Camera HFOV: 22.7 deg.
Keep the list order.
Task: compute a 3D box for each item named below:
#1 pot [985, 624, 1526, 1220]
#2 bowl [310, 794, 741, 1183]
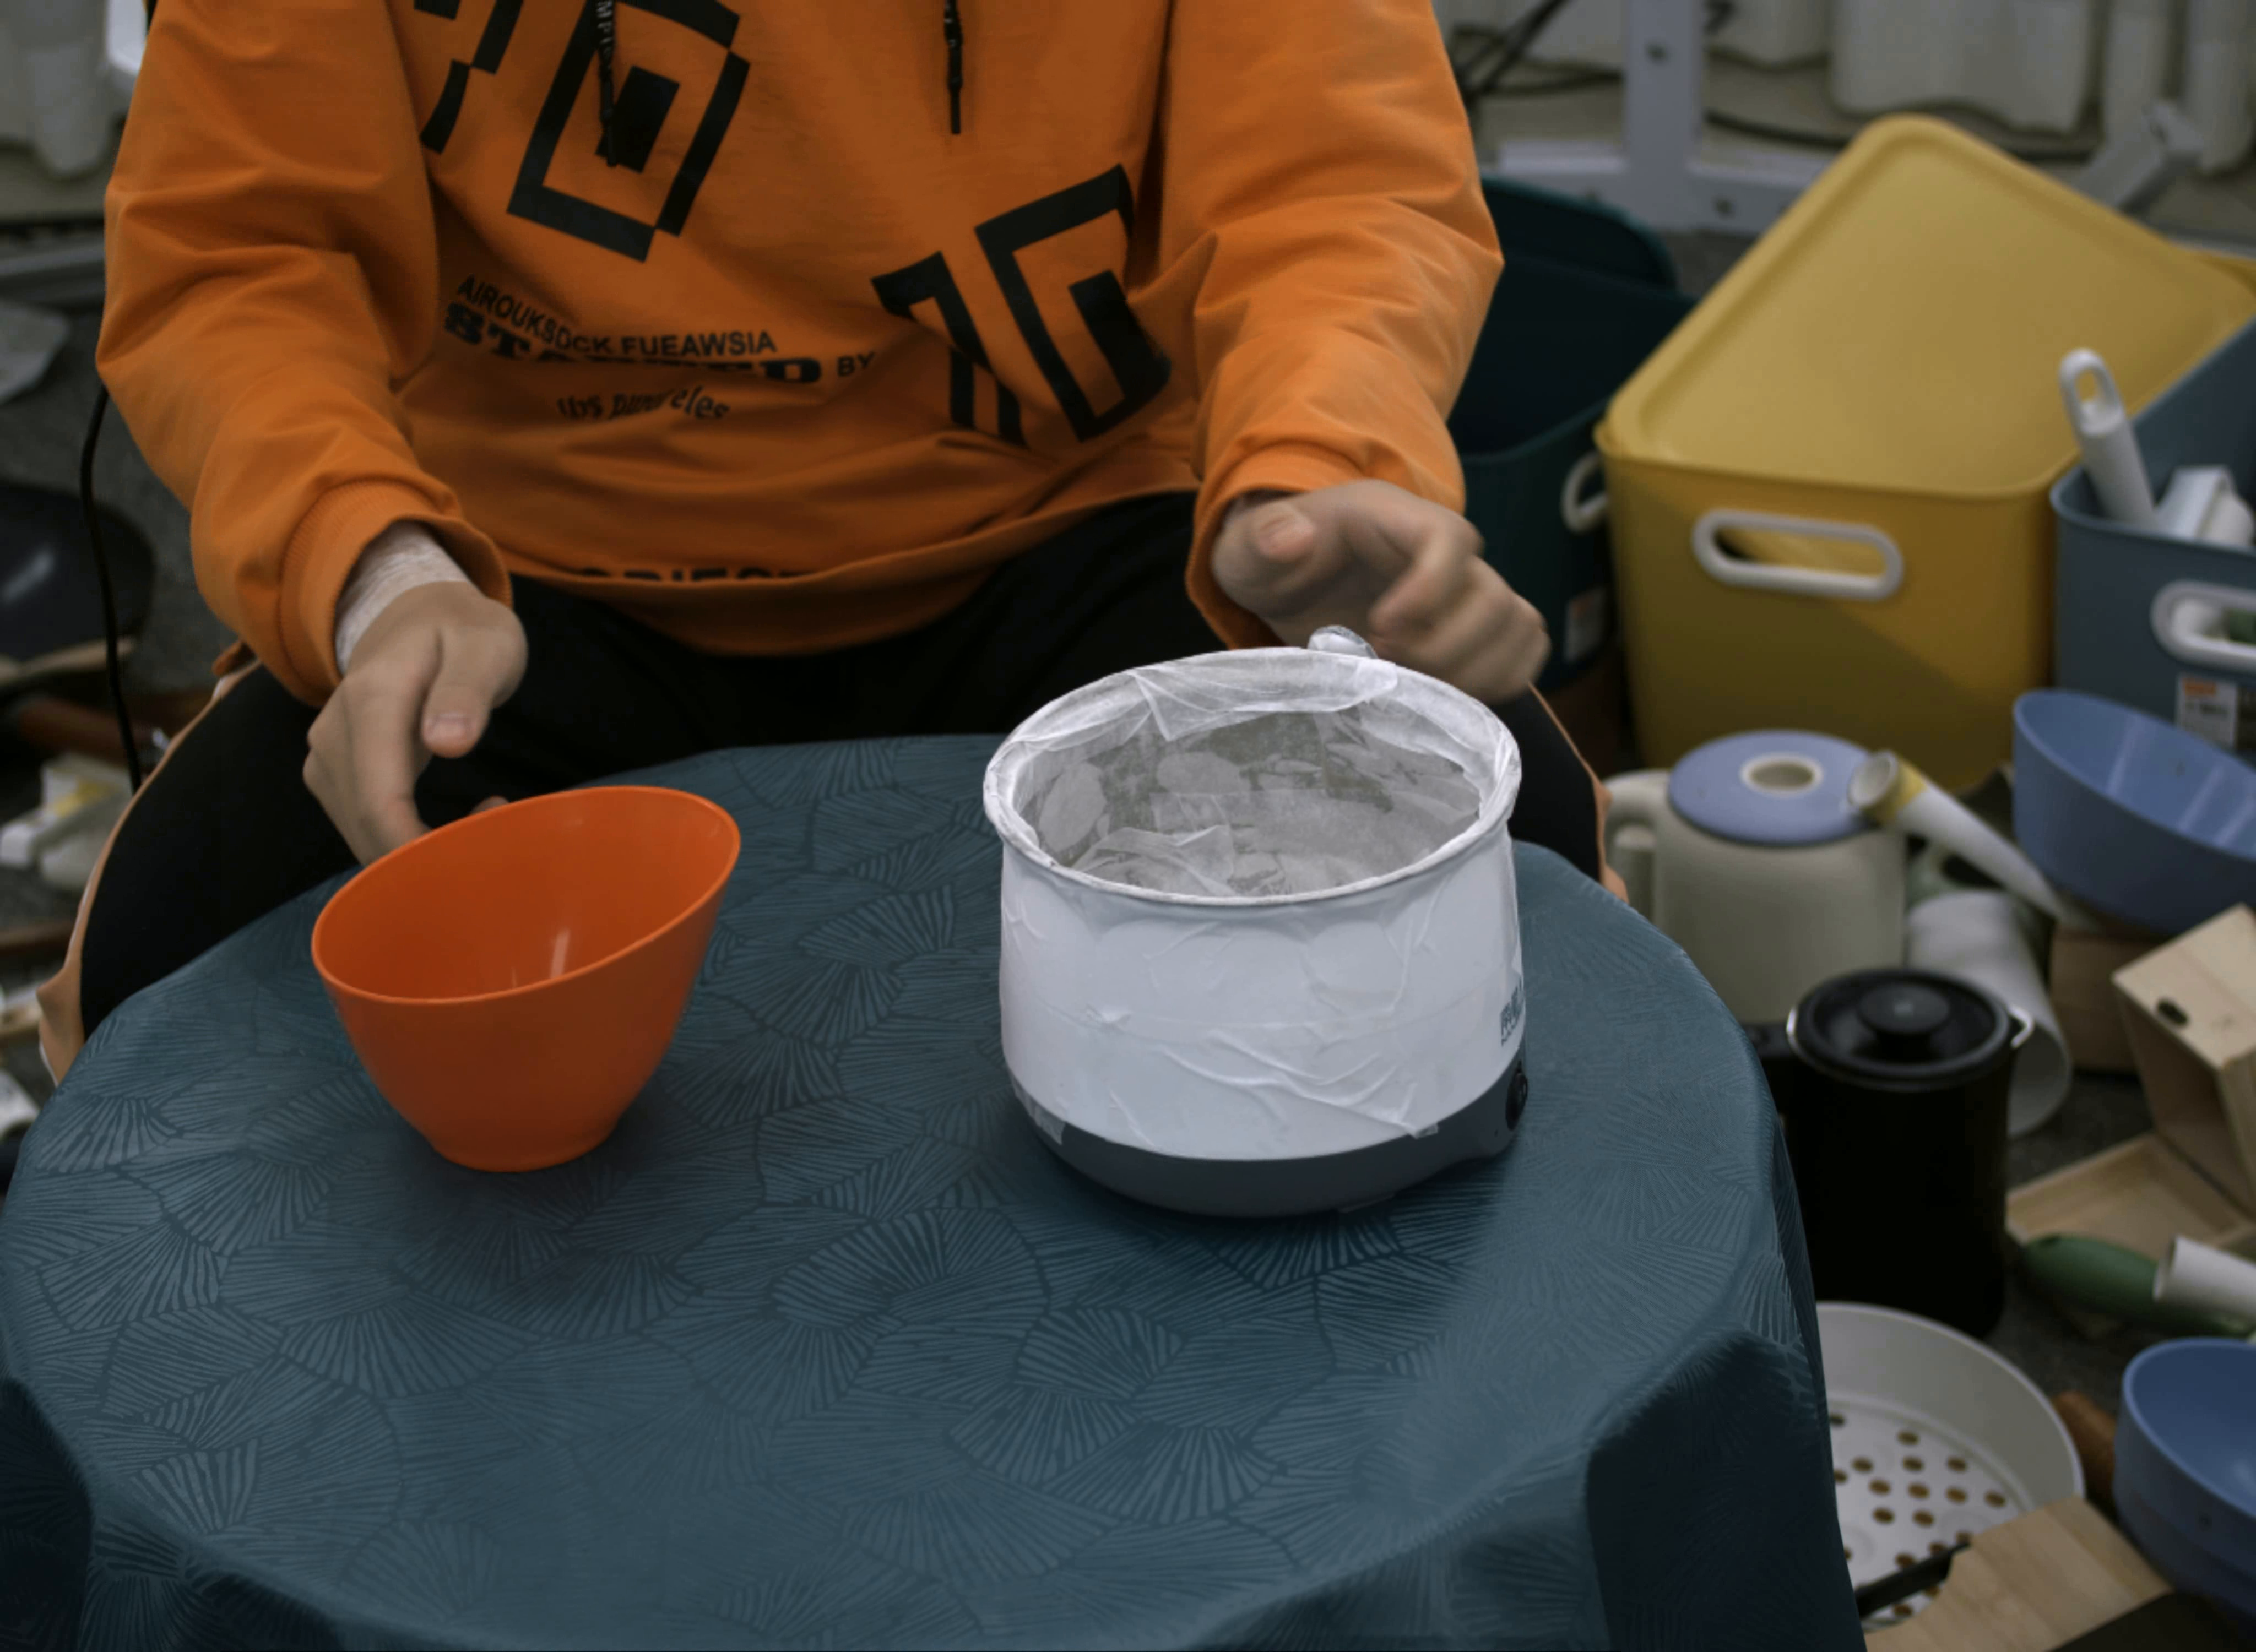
[{"bbox_3d":[0.052,0.025,1.896,0.177,0.135,0.238,5,29,15],"label":"pot"},{"bbox_3d":[-0.199,0.061,1.895,0.147,0.103,0.150,-4,27,2],"label":"bowl"}]
